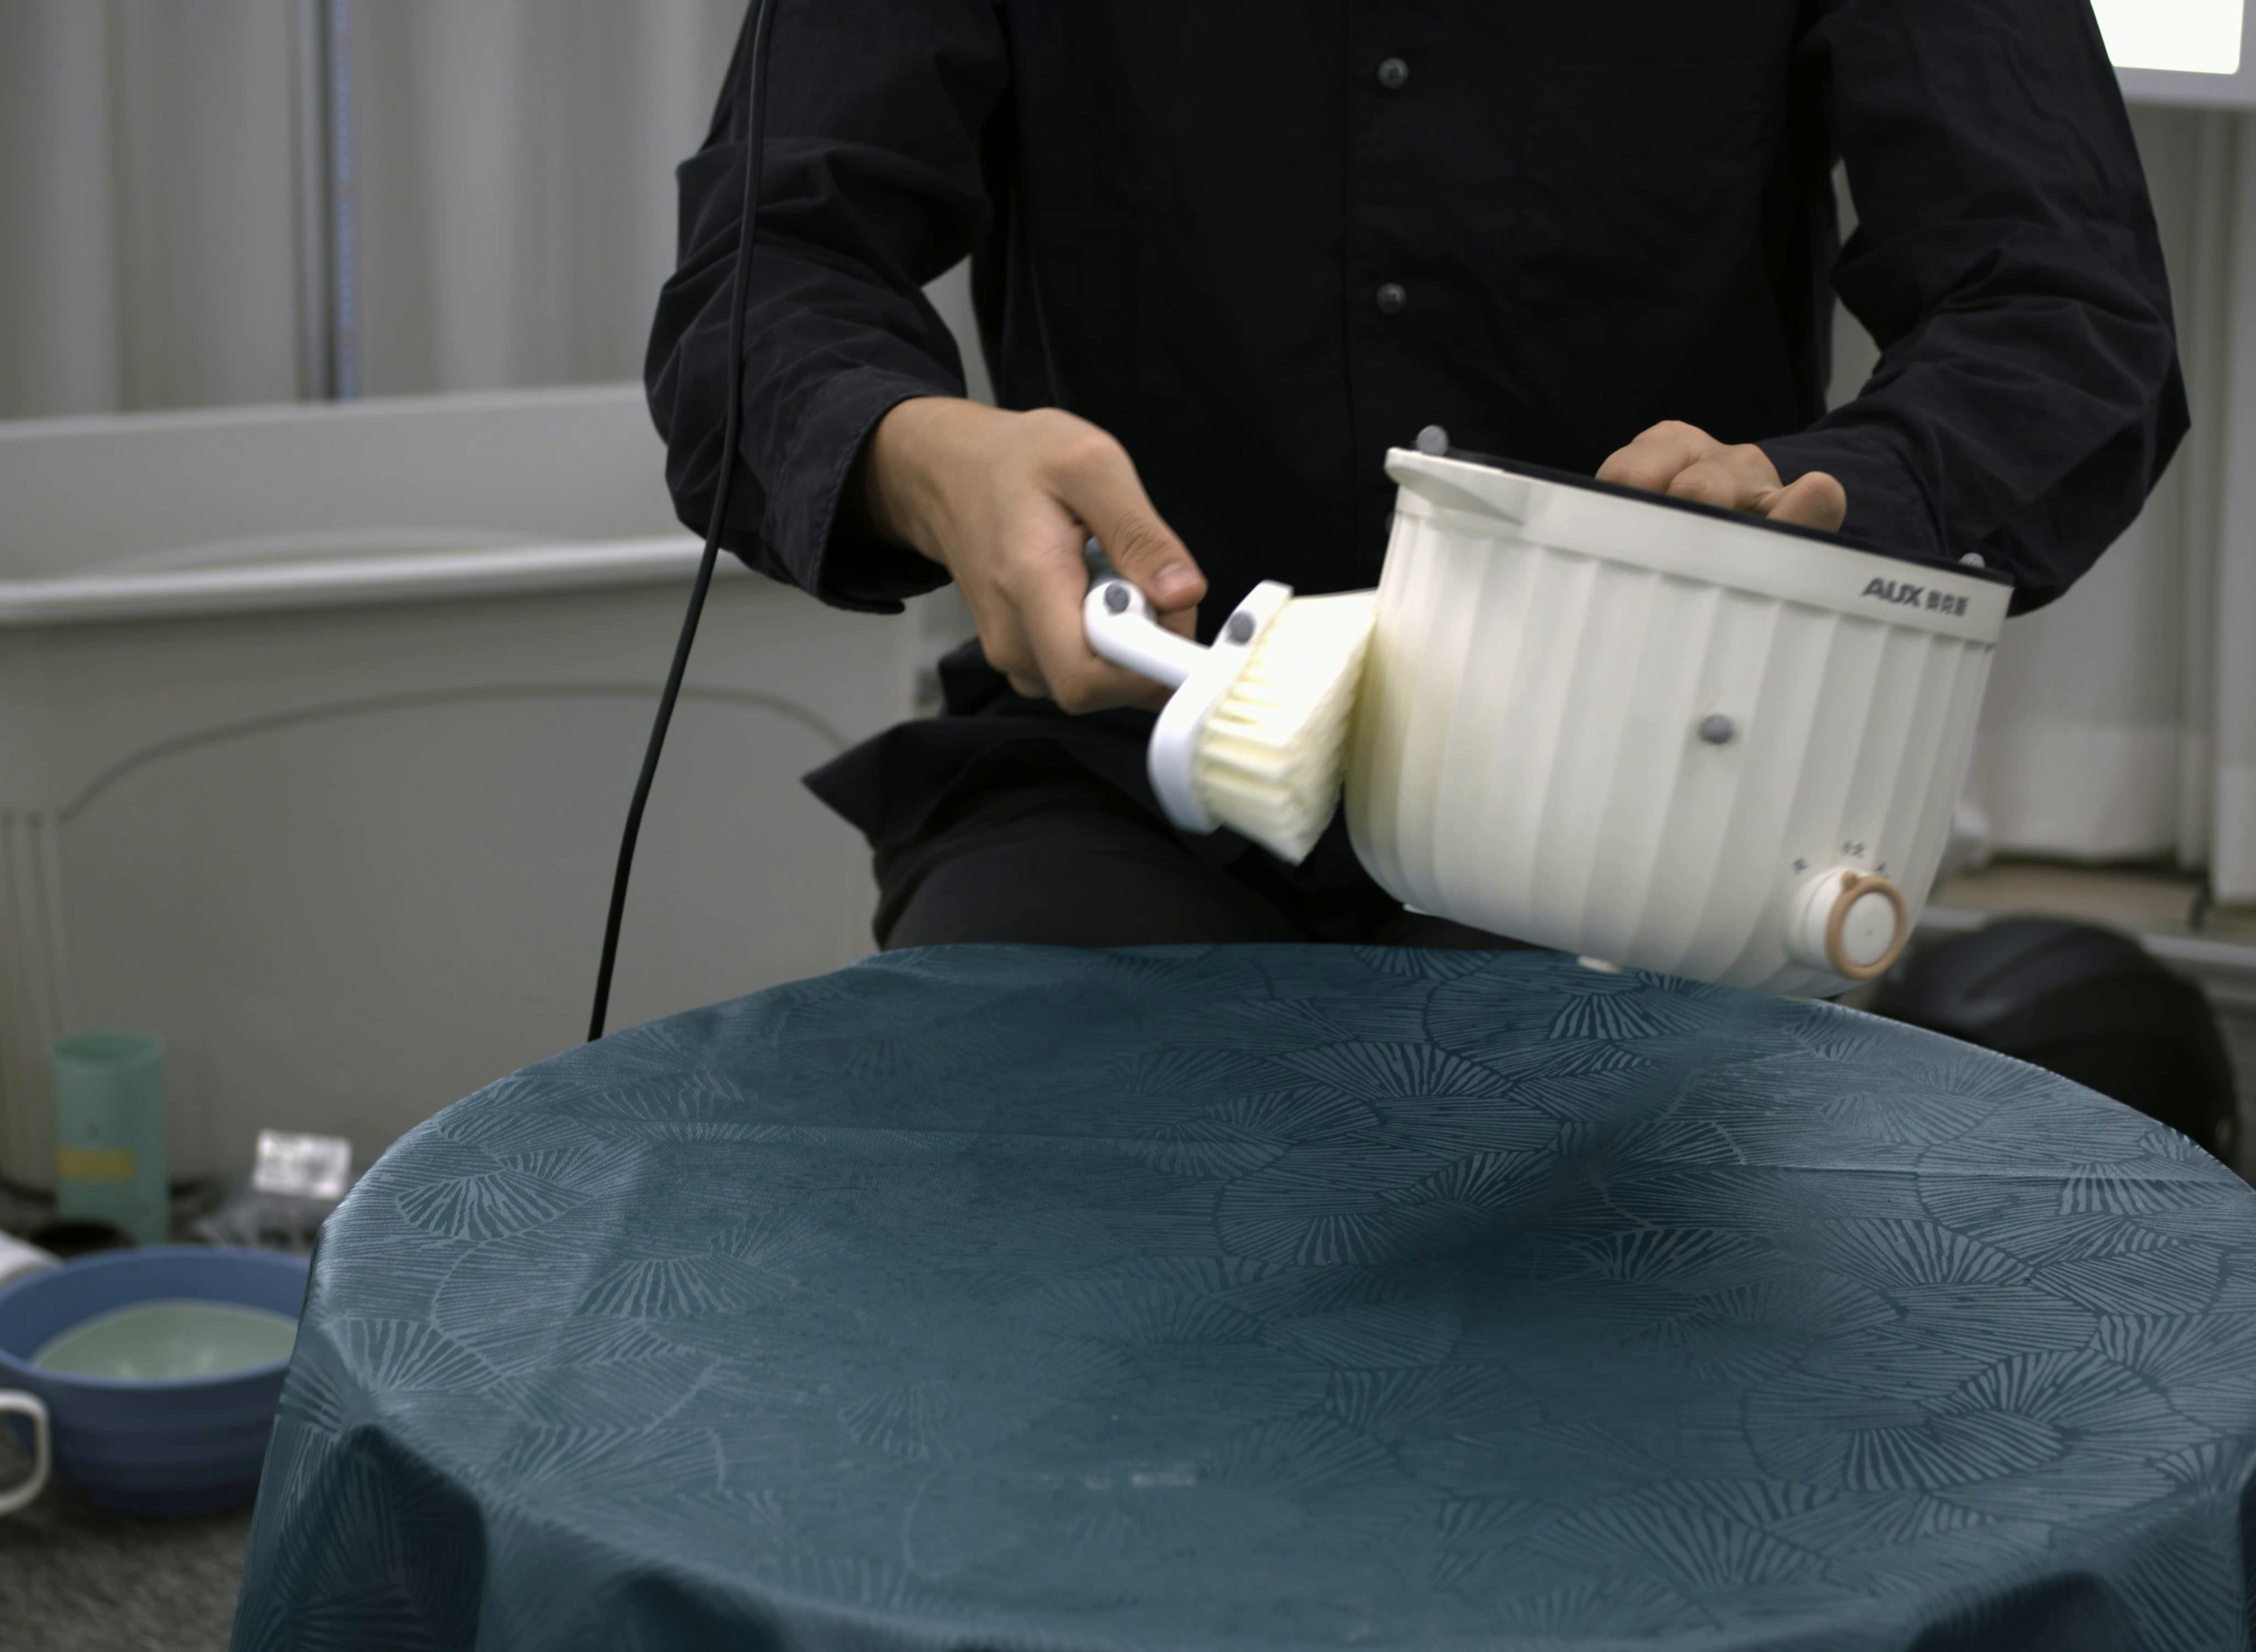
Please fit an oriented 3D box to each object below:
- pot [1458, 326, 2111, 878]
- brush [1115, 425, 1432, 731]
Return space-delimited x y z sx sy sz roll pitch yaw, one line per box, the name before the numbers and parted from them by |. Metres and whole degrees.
pot | 0.195 -0.064 1.577 0.242 0.143 0.188 8 3 -40
brush | 0.056 -0.090 1.646 0.083 0.085 0.323 -42 12 6
